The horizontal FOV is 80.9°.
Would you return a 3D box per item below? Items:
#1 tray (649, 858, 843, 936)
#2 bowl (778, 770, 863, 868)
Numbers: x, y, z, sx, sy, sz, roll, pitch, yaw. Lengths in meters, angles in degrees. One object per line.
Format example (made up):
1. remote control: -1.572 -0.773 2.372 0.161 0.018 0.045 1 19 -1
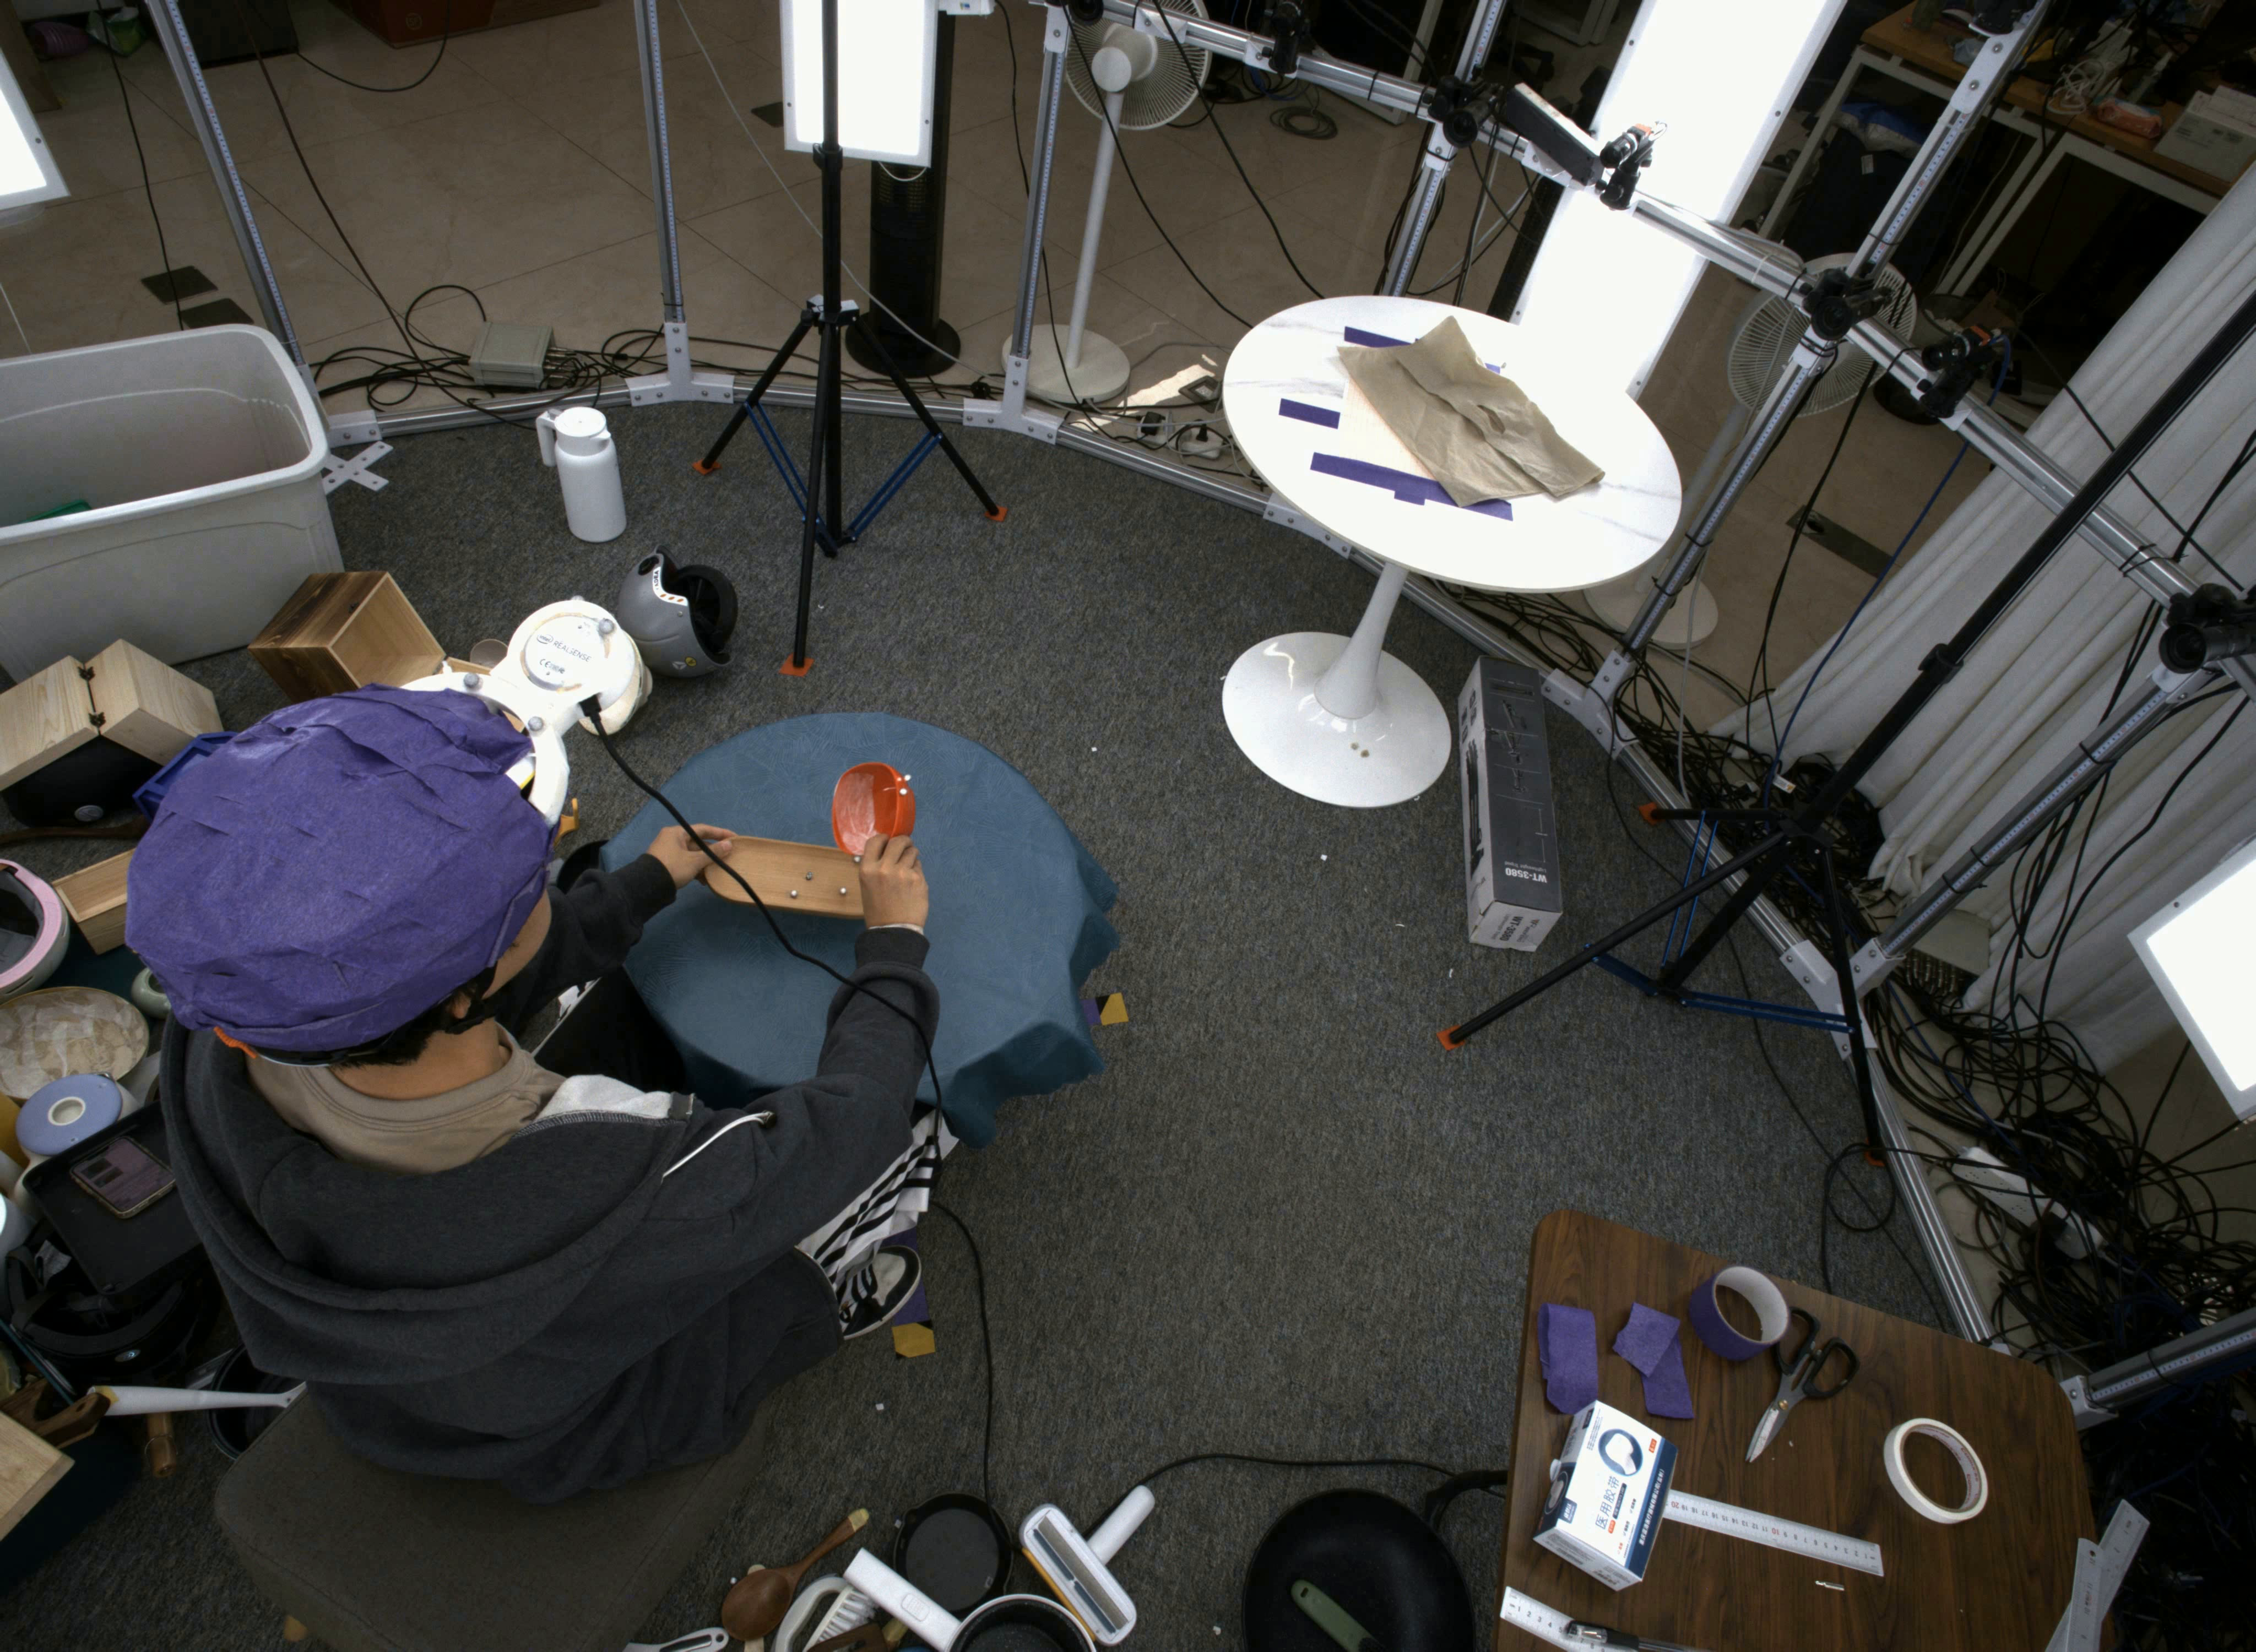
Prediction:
1. tray: -0.464 0.086 1.577 0.233 0.020 0.099 4 51 -22
2. bowl: -0.349 -0.006 1.499 0.116 0.119 0.052 52 20 25
